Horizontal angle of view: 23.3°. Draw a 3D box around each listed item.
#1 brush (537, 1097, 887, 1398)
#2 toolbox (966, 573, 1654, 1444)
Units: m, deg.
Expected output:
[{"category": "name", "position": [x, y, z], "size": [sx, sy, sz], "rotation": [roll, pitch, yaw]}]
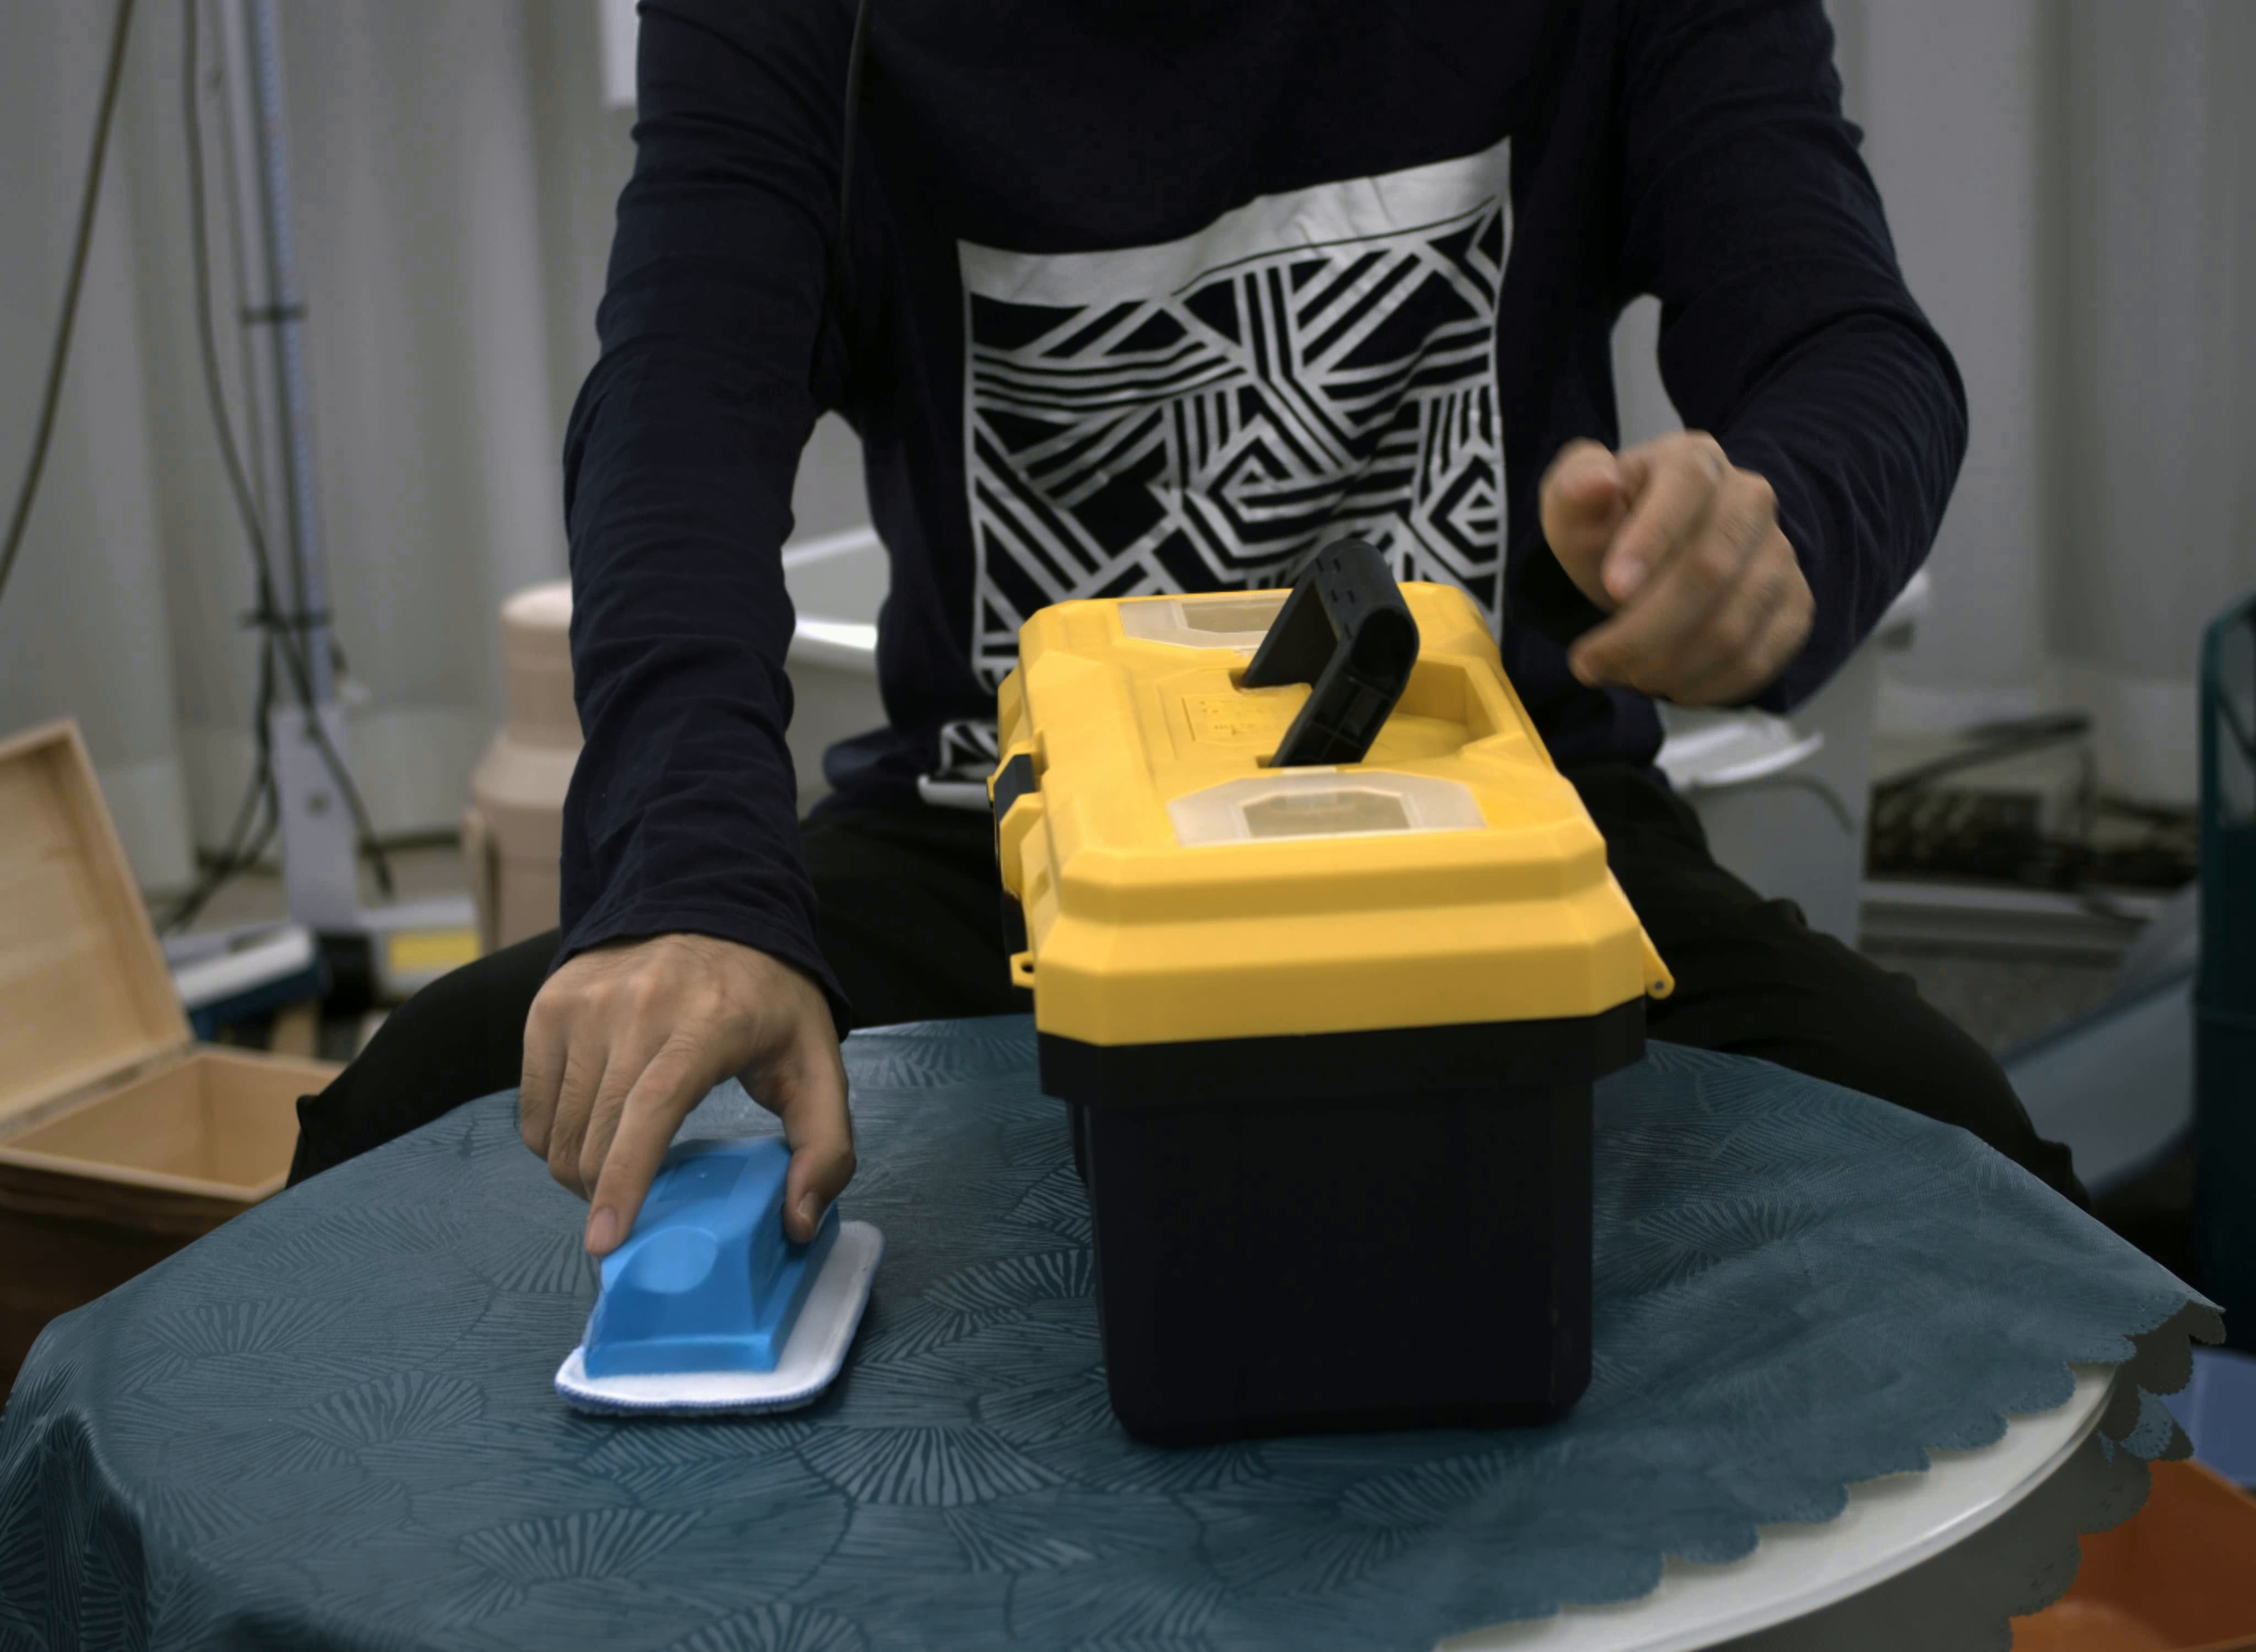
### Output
[{"category": "brush", "position": [-0.121, 0.120, 1.601], "size": [0.084, 0.055, 0.145], "rotation": [2, 18, 8]}, {"category": "toolbox", "position": [0.048, 0.045, 1.629], "size": [0.180, 0.172, 0.354], "rotation": [-3, 15, -3]}]
